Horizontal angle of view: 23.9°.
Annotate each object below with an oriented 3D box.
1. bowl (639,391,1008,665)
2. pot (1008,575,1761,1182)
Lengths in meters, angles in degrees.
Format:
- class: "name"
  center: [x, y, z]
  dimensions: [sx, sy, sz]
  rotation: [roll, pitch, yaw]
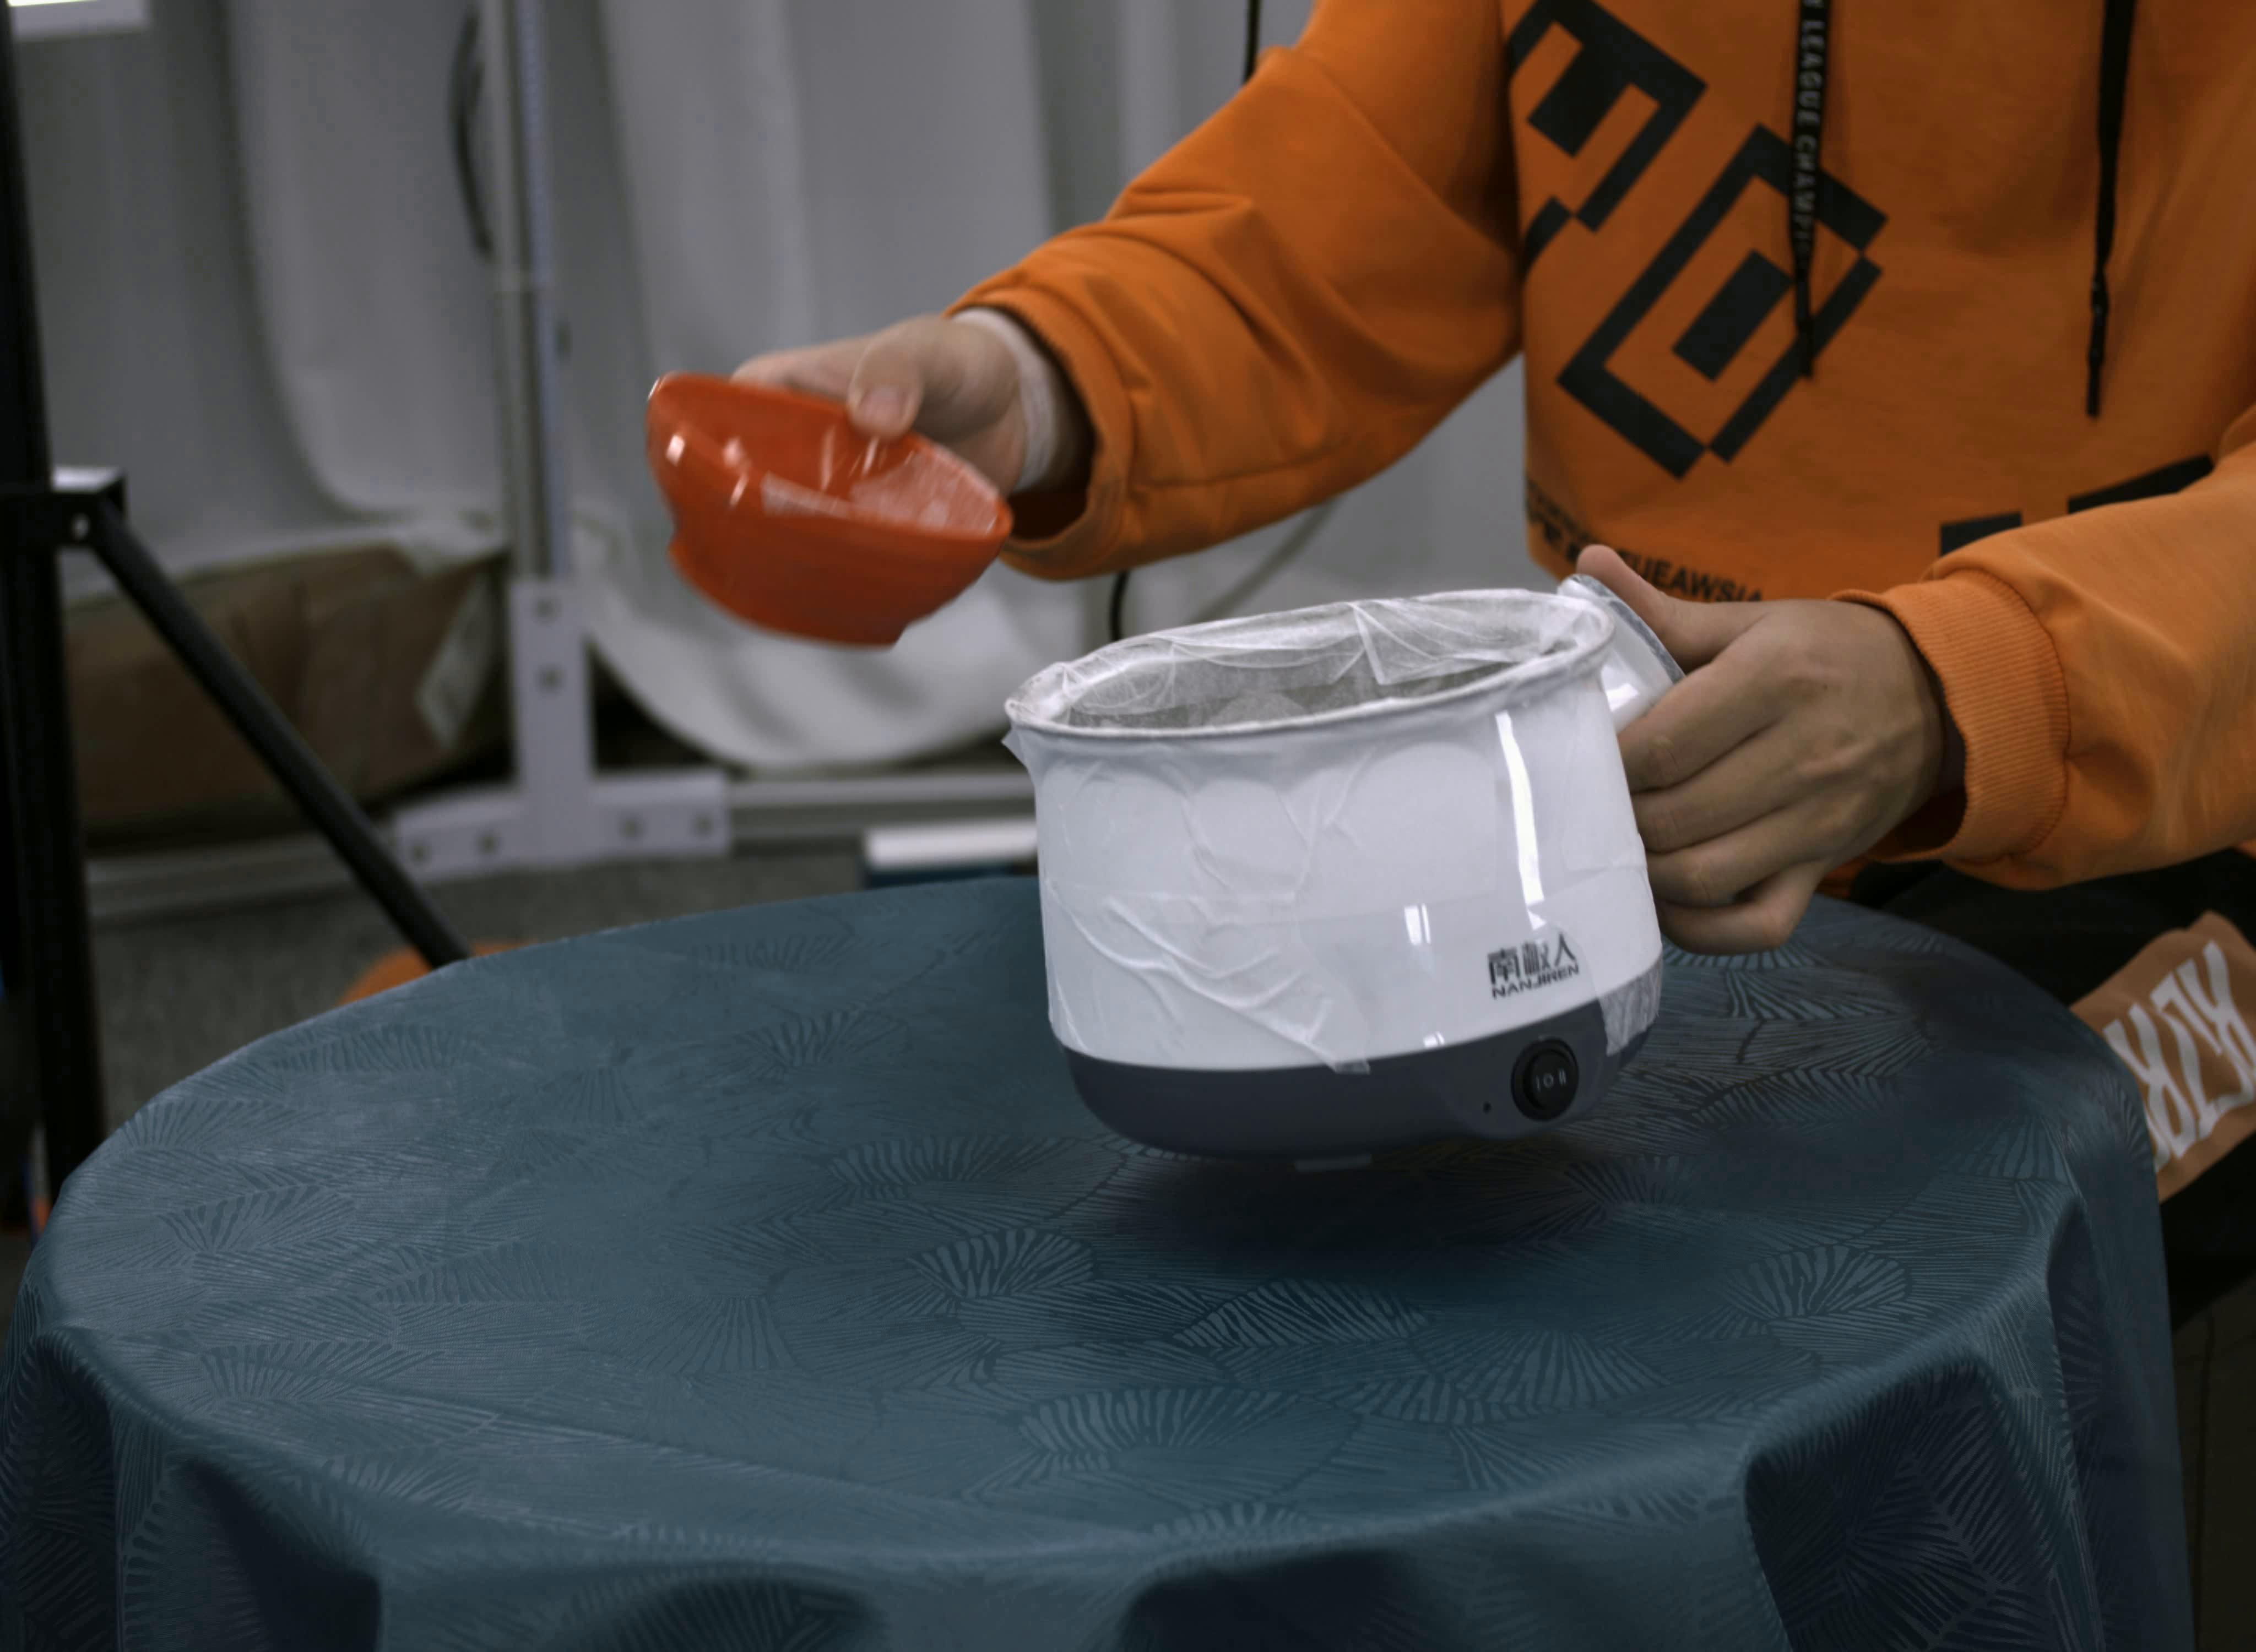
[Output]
- class: "bowl"
  center: [-0.100, -0.087, 1.637]
  dimensions: [0.118, 0.051, 0.119]
  rotation: [17, 18, -7]
- class: "pot"
  center: [0.084, 0.009, 1.538]
  dimensions: [0.228, 0.136, 0.182]
  rotation: [-16, 14, -32]
